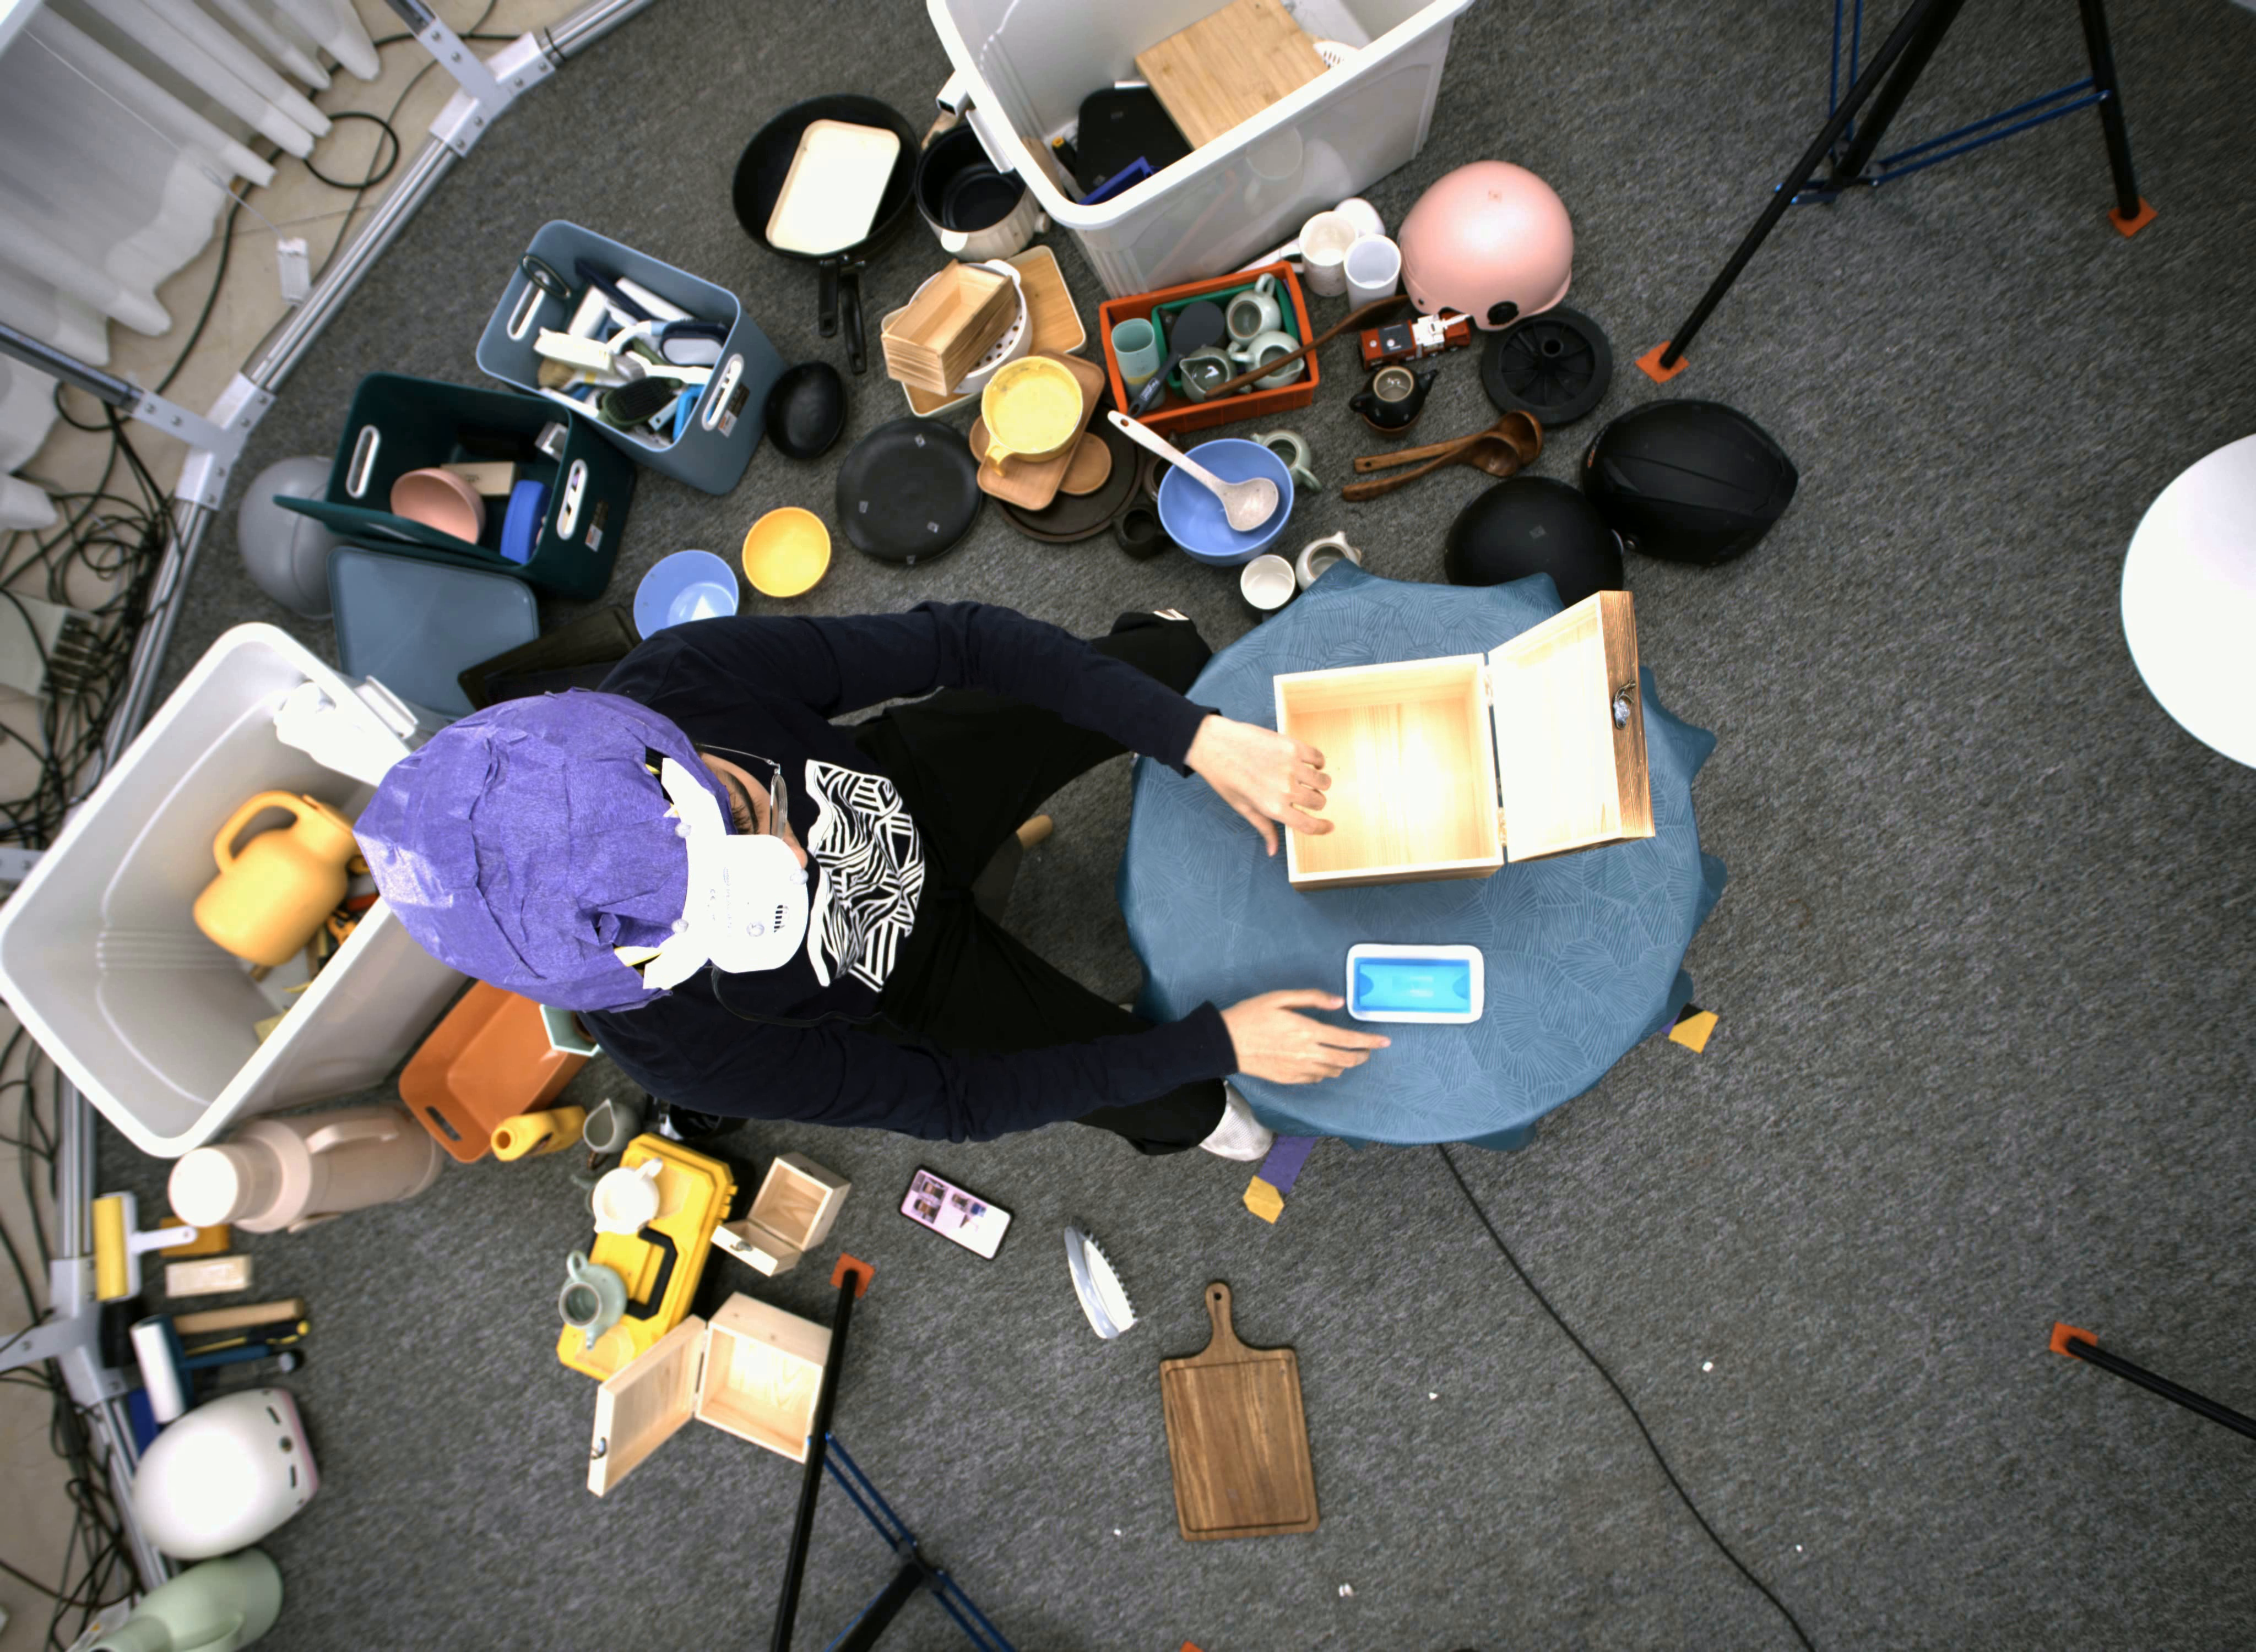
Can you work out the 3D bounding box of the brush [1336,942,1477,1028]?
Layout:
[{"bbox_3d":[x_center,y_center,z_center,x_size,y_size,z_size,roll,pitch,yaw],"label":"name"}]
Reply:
[{"bbox_3d":[0.288,0.161,1.420,0.144,0.056,0.083,3,84,9],"label":"brush"}]

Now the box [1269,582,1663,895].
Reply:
[{"bbox_3d":[0.292,-0.064,1.278,0.323,0.376,0.207,-5,83,10],"label":"box"}]
